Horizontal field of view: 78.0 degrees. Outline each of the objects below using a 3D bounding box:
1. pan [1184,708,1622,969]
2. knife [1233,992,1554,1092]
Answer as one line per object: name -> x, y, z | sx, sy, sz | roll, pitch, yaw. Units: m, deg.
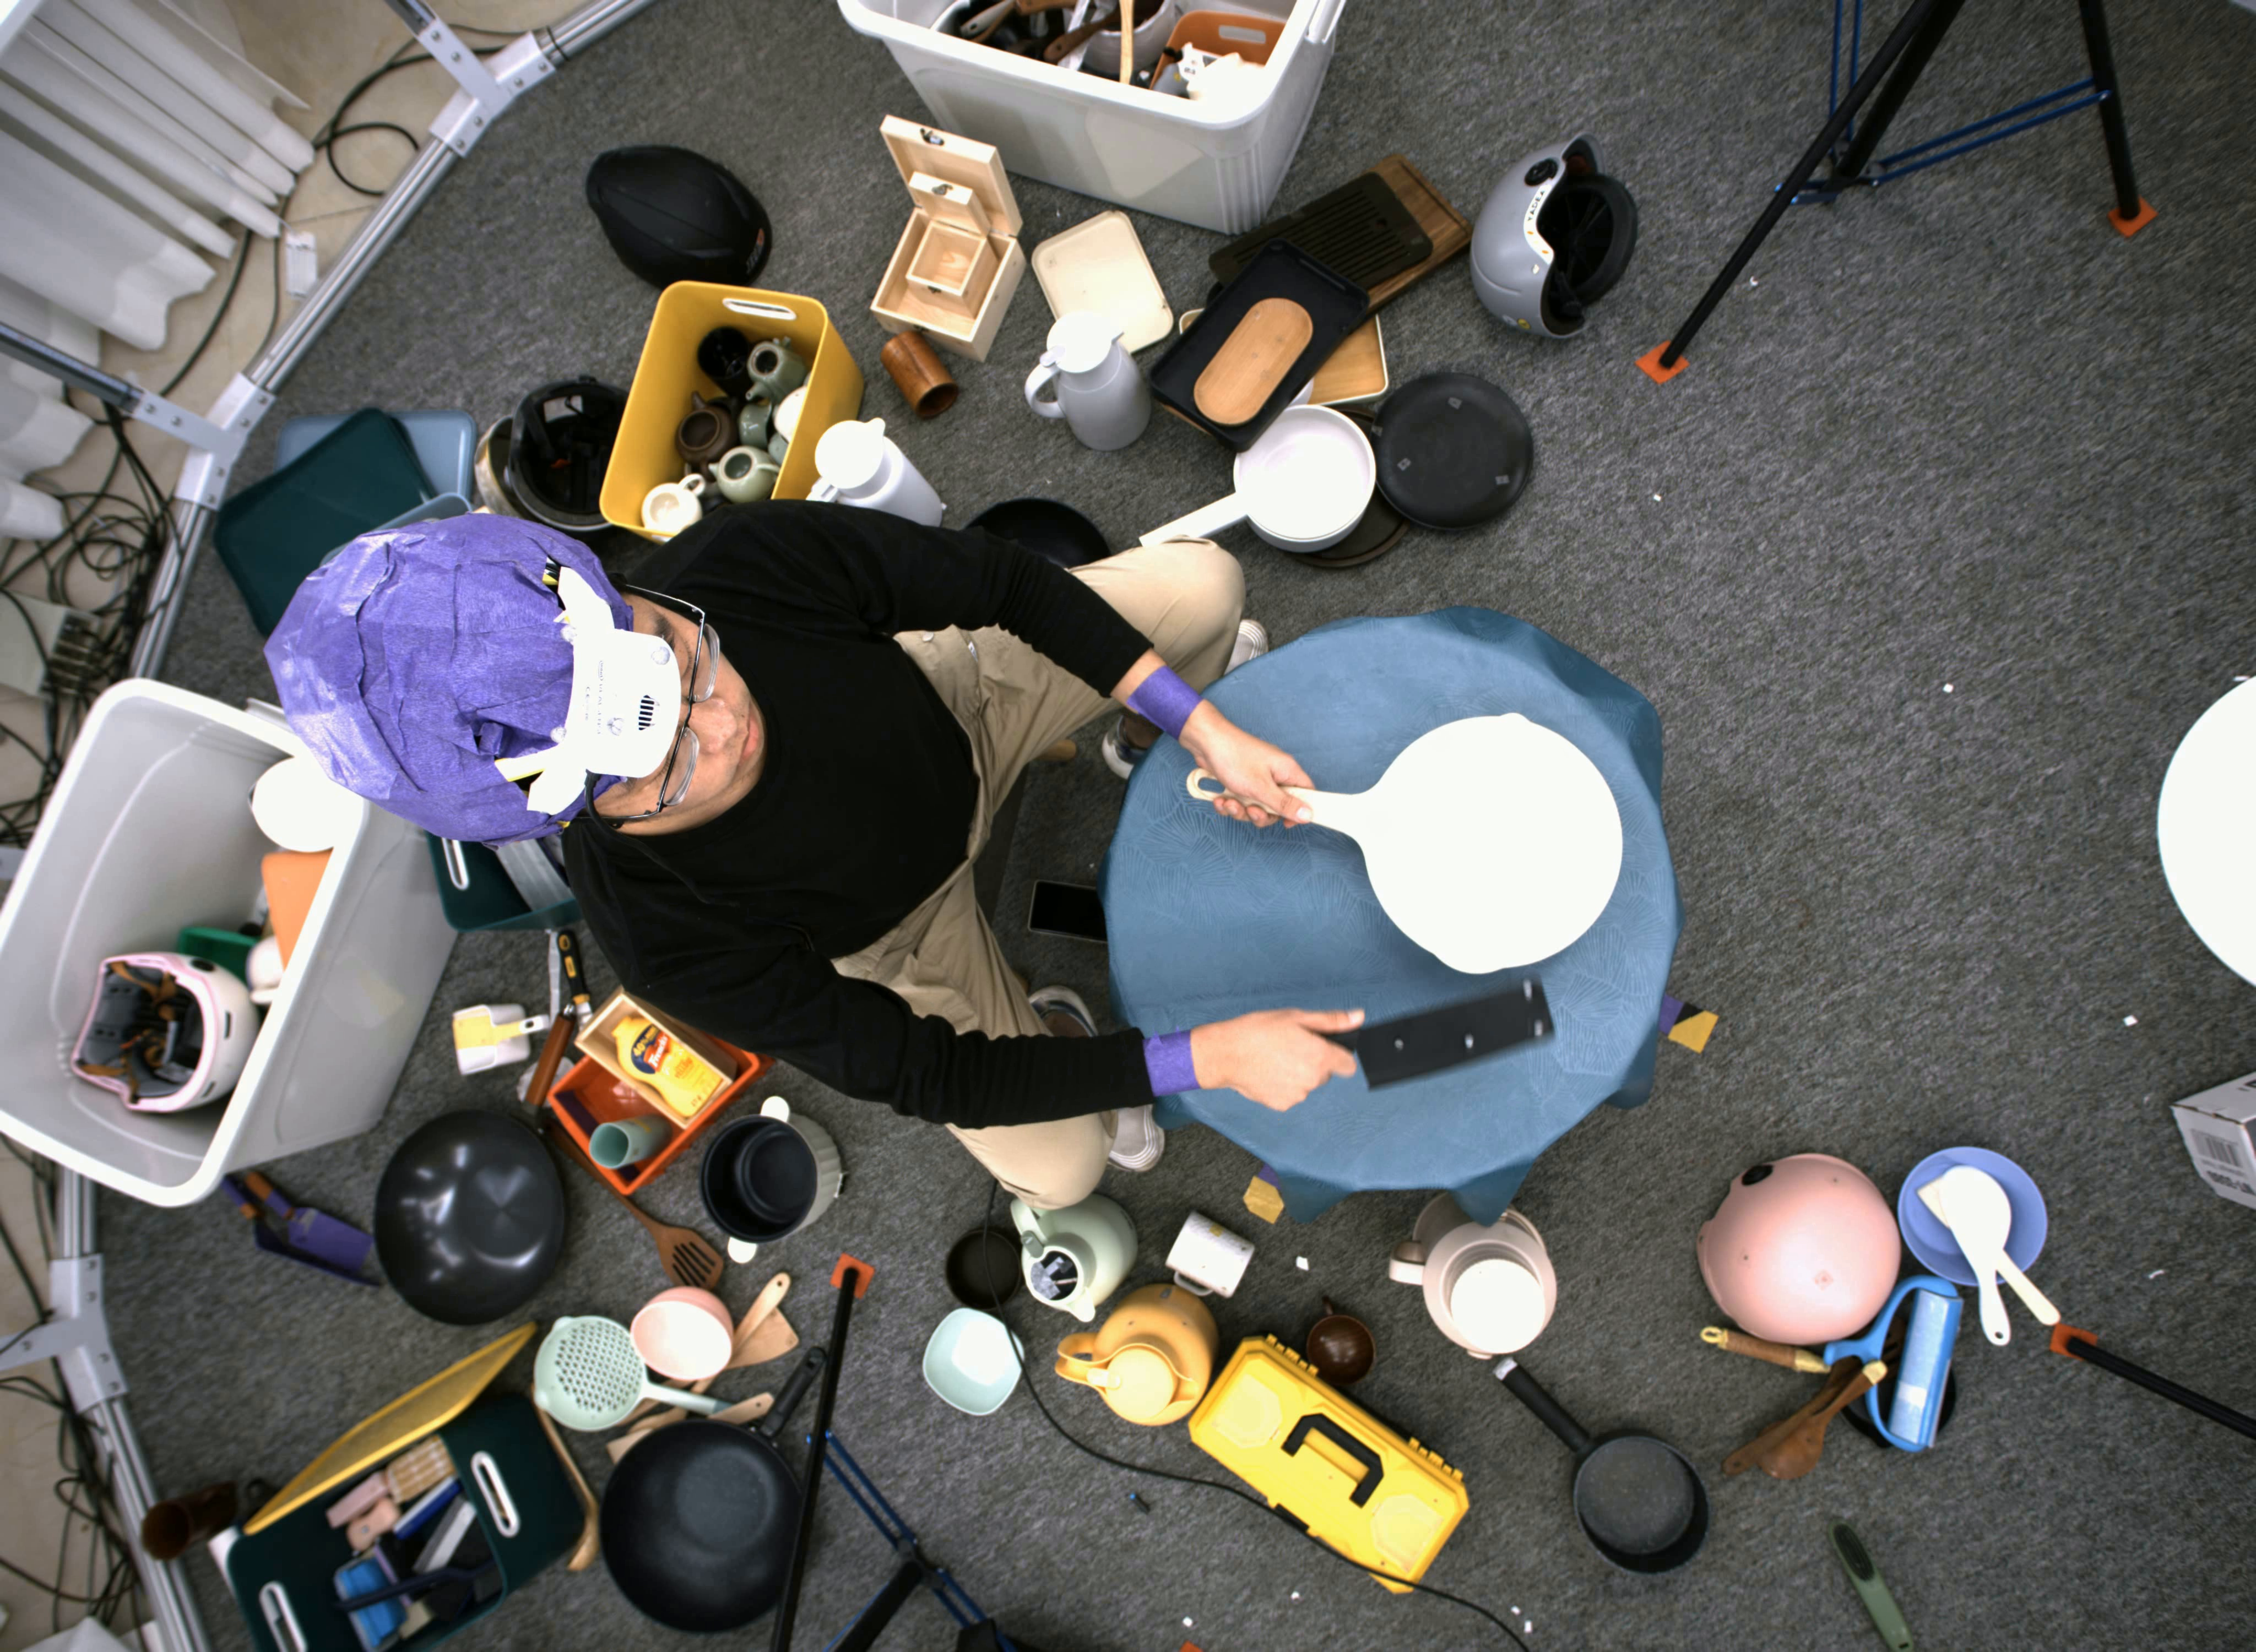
pan -> 0.277, -0.004, 1.414 | 0.436, 0.102, 0.263 | 10, 90, 11
knife -> 0.245, 0.213, 1.301 | 0.304, 0.020, 0.082 | -11, 107, 13
